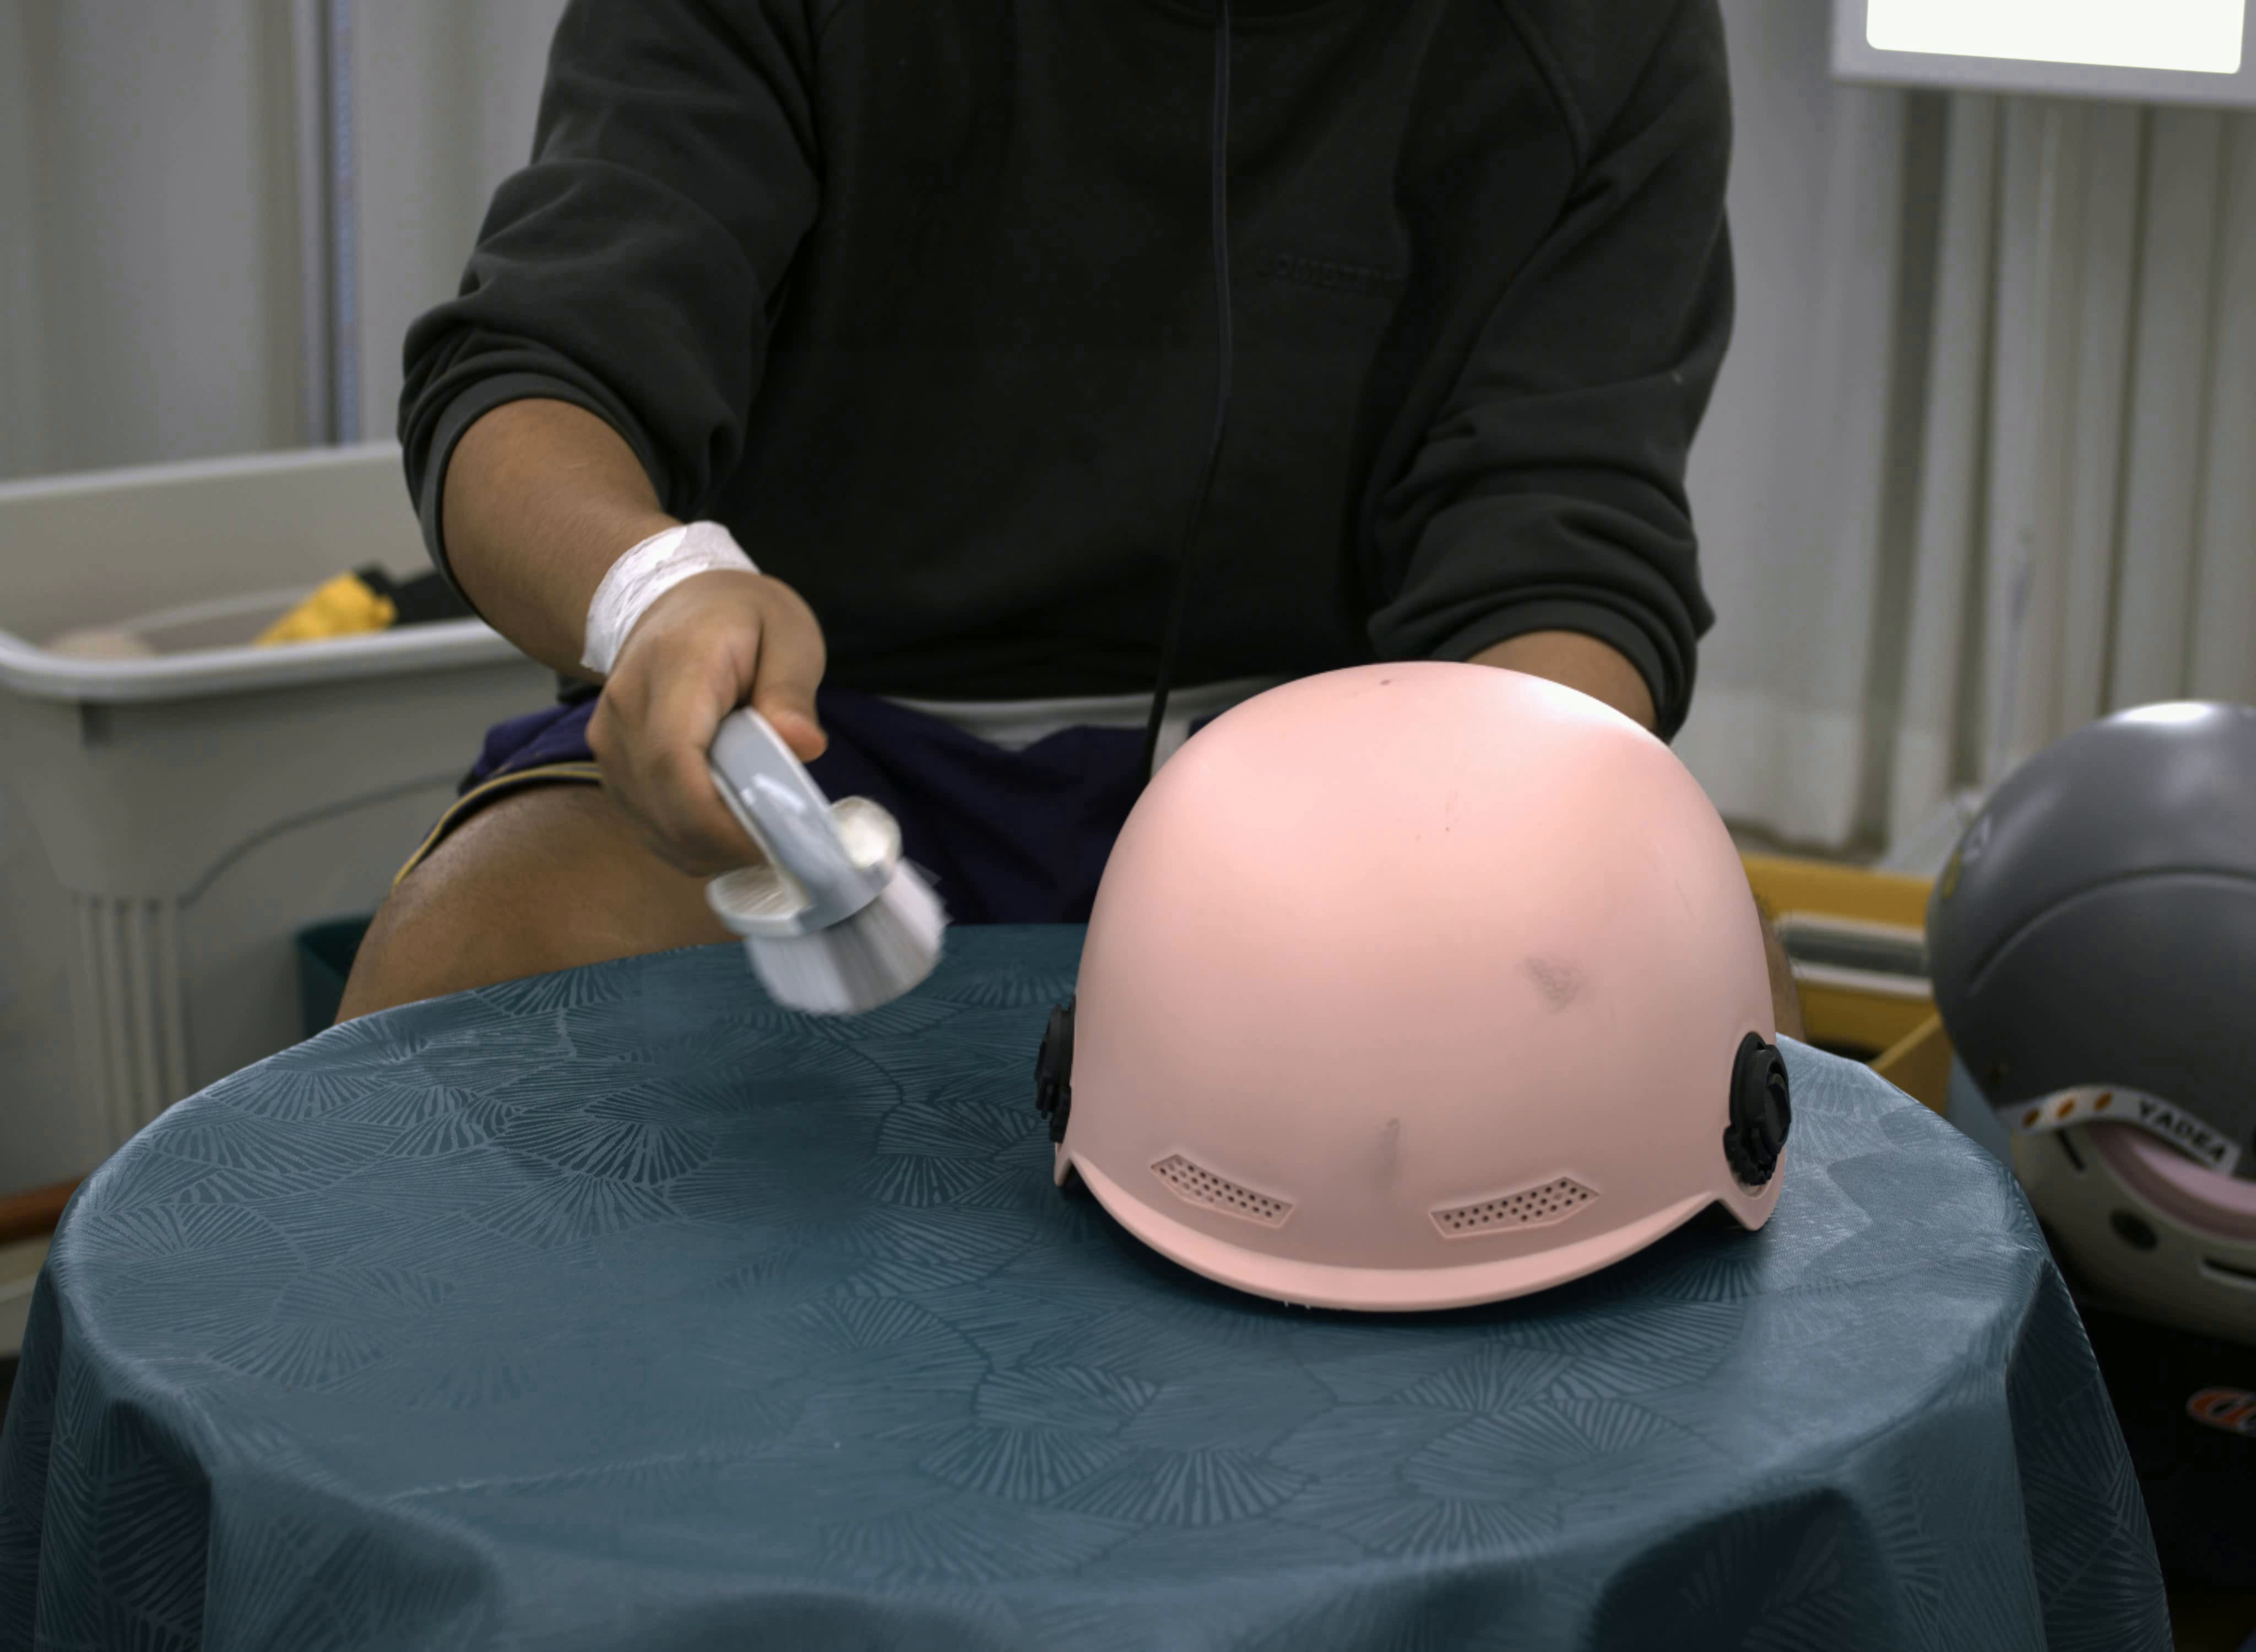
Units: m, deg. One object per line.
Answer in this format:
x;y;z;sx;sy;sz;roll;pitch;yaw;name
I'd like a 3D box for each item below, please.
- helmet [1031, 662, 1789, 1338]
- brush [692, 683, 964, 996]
0.088;0.038;1.610;0.232;0.160;0.265;4;21;9;helmet
-0.097;0.000;1.638;0.061;0.095;0.174;-35;14;-4;brush
